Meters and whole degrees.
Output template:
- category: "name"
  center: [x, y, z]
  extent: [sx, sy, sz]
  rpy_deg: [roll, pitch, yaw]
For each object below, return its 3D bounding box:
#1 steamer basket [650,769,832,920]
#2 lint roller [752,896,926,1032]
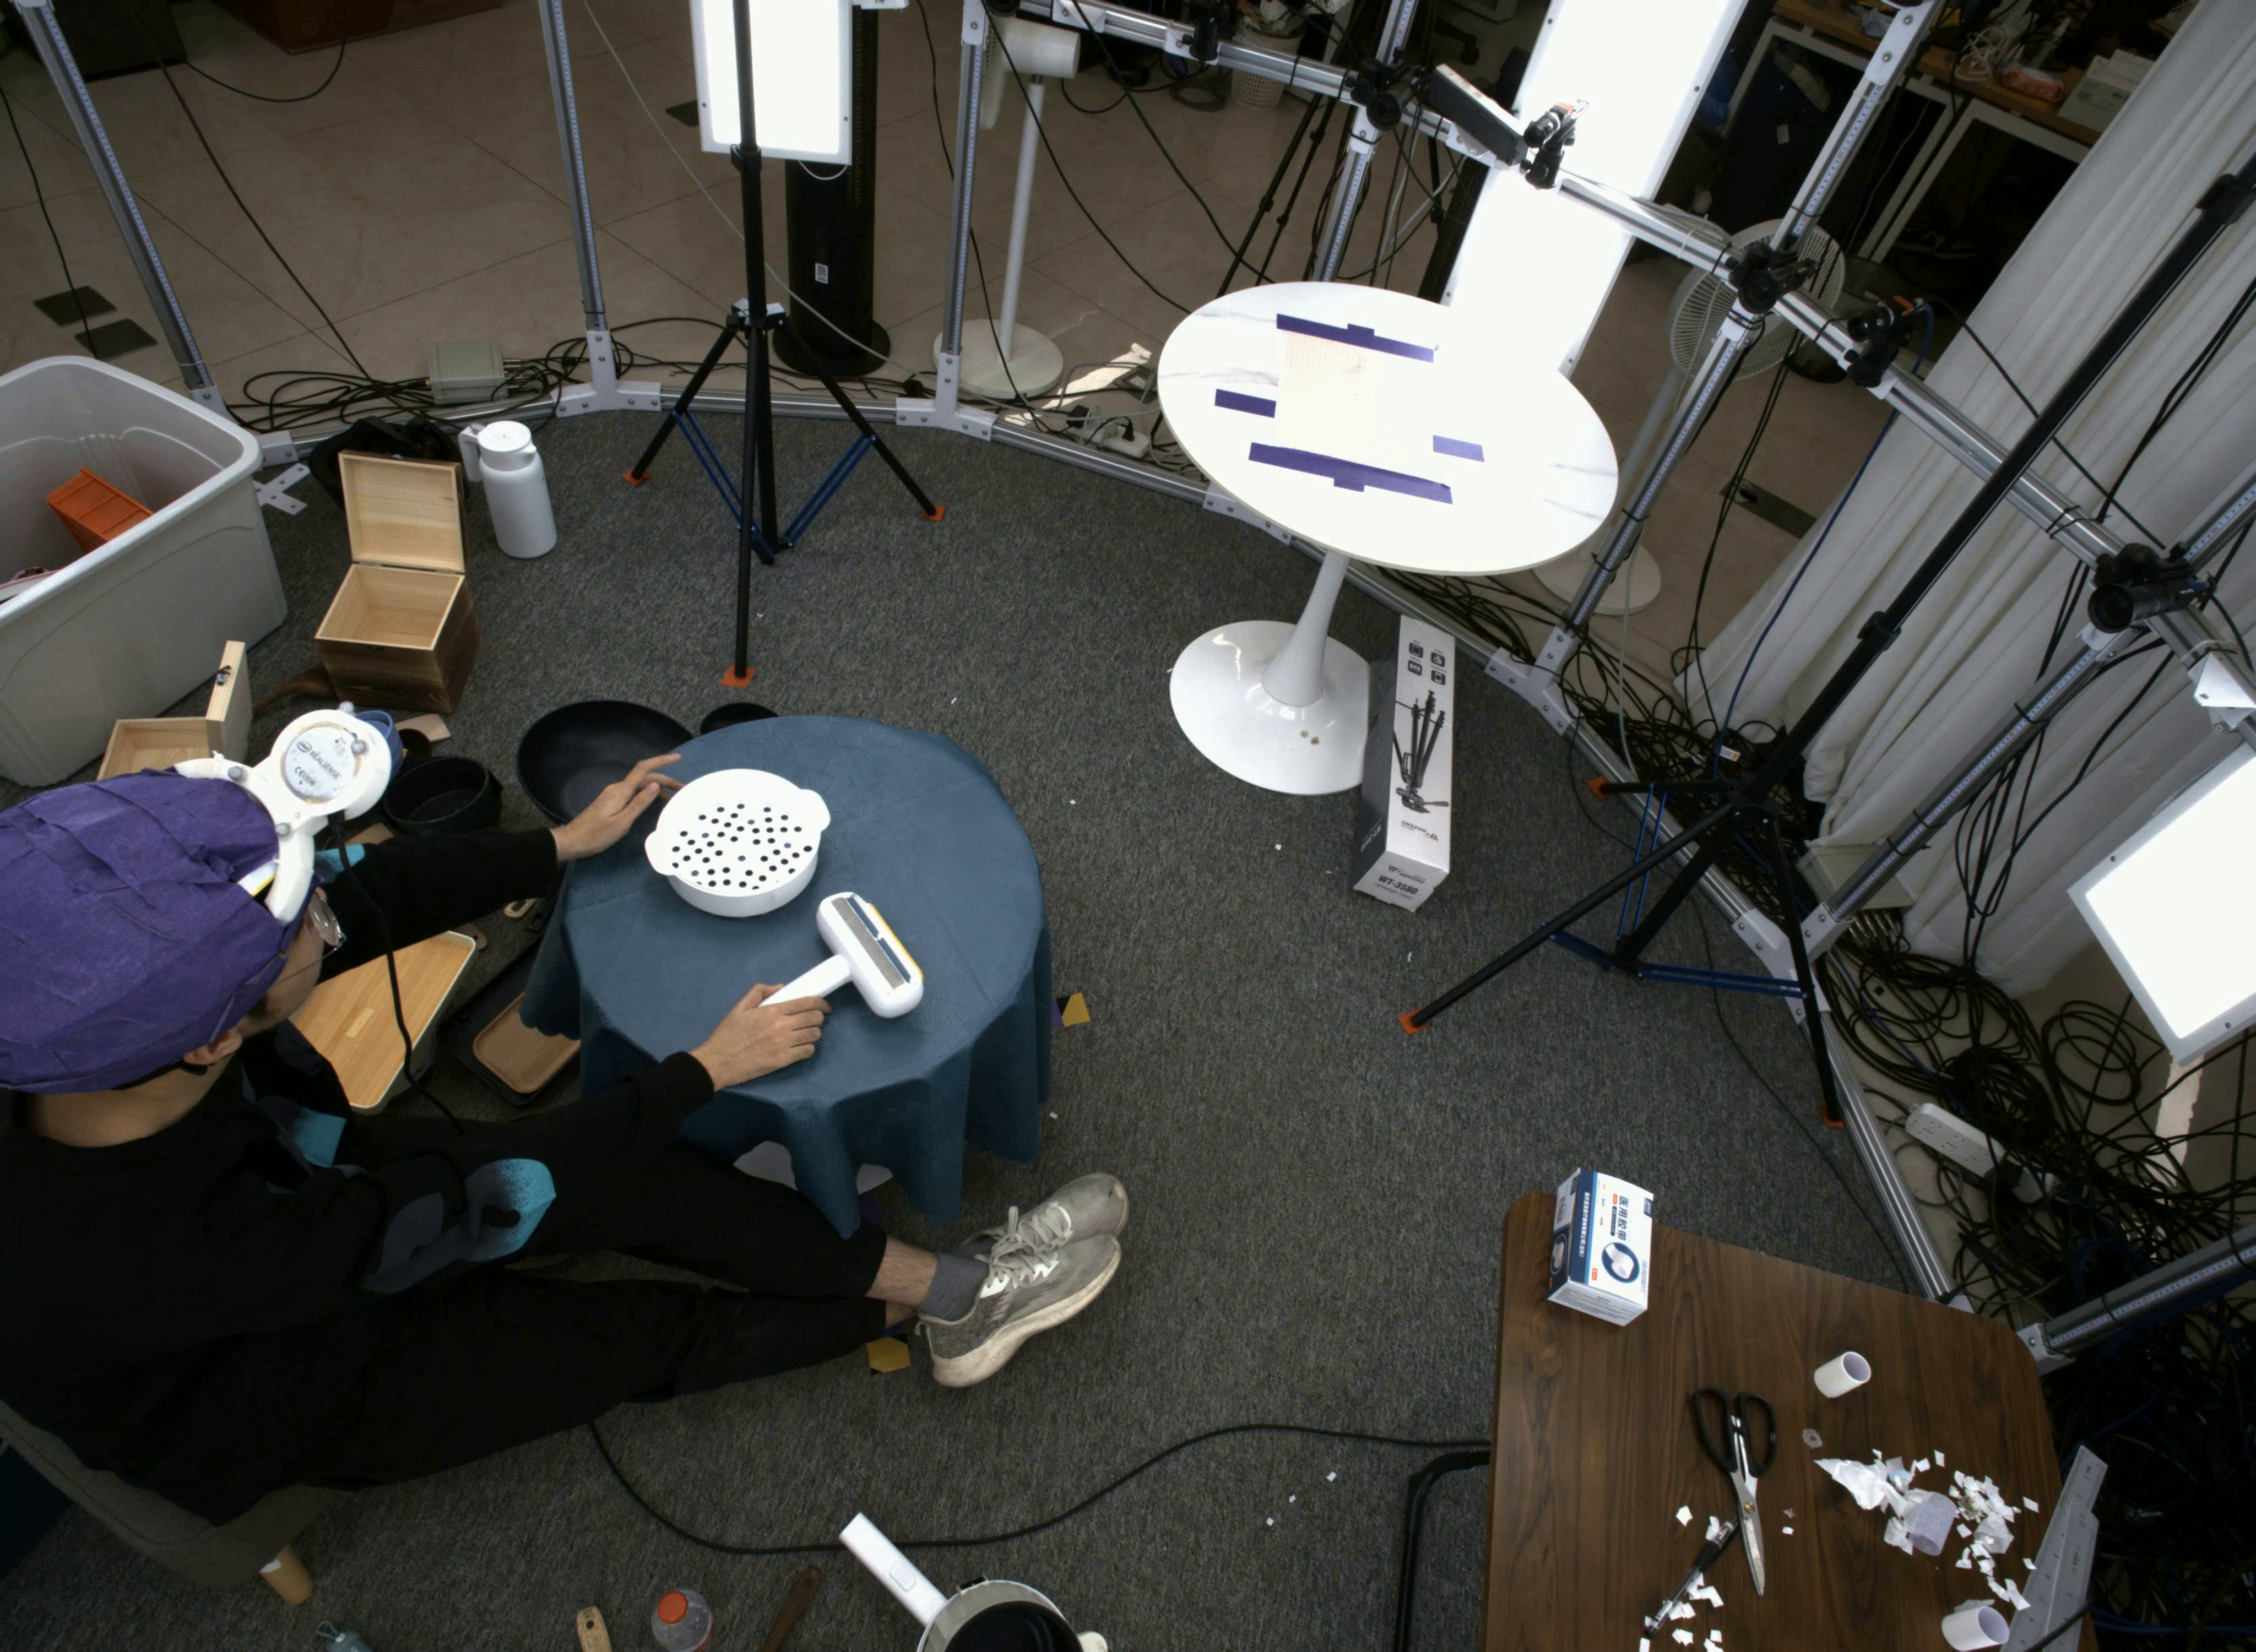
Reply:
- category: "steamer basket"
  center: [-0.490, 0.022, 1.654]
  extent: [0.231, 0.071, 0.196]
  rpy_deg: [-20, 60, -24]
- category: "lint roller"
  center: [-0.363, 0.183, 1.567]
  extent: [0.193, 0.076, 0.187]
  rpy_deg: [-22, 57, -25]
